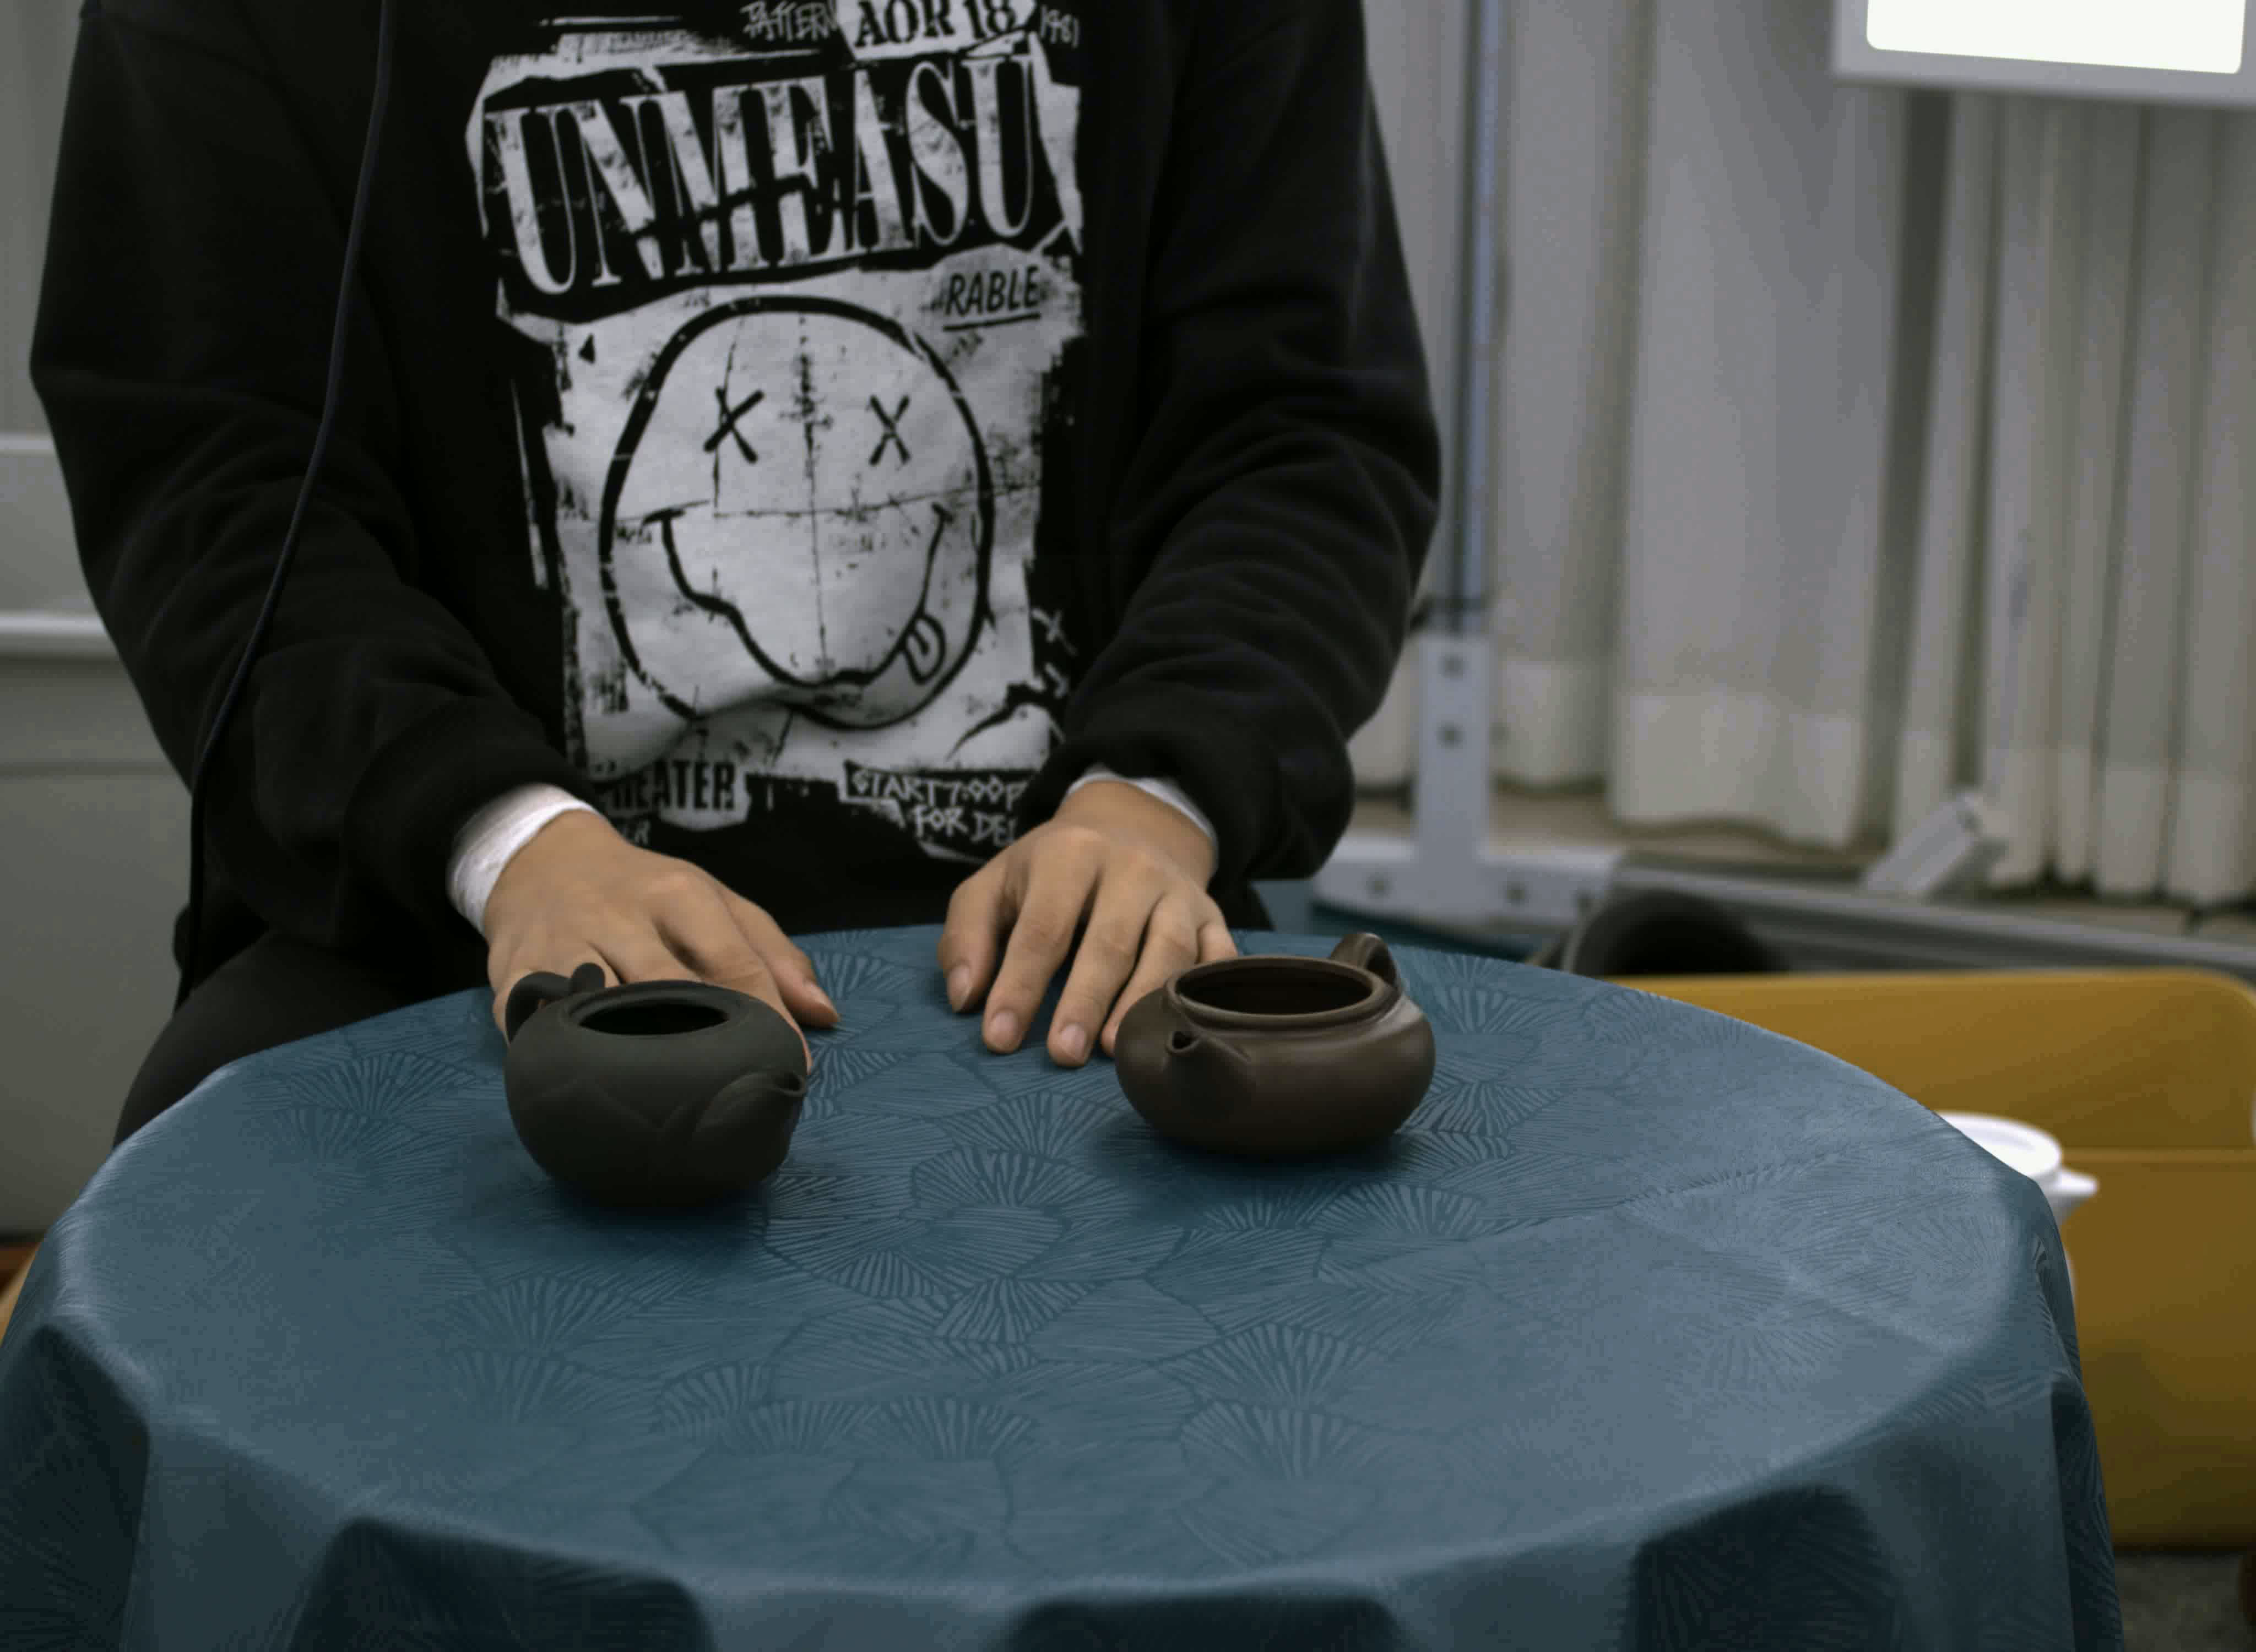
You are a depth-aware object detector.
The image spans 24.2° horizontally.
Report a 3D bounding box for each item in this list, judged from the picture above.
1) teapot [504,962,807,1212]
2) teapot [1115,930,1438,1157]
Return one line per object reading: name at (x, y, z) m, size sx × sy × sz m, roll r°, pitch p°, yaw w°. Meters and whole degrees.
teapot at (-0.147, 0.080, 1.615) m, size 0.093 × 0.065 × 0.152 m, roll -10°, pitch 19°, yaw -38°
teapot at (0.049, 0.070, 1.676) m, size 0.101 × 0.054 × 0.153 m, roll 8°, pitch 18°, yaw 19°
